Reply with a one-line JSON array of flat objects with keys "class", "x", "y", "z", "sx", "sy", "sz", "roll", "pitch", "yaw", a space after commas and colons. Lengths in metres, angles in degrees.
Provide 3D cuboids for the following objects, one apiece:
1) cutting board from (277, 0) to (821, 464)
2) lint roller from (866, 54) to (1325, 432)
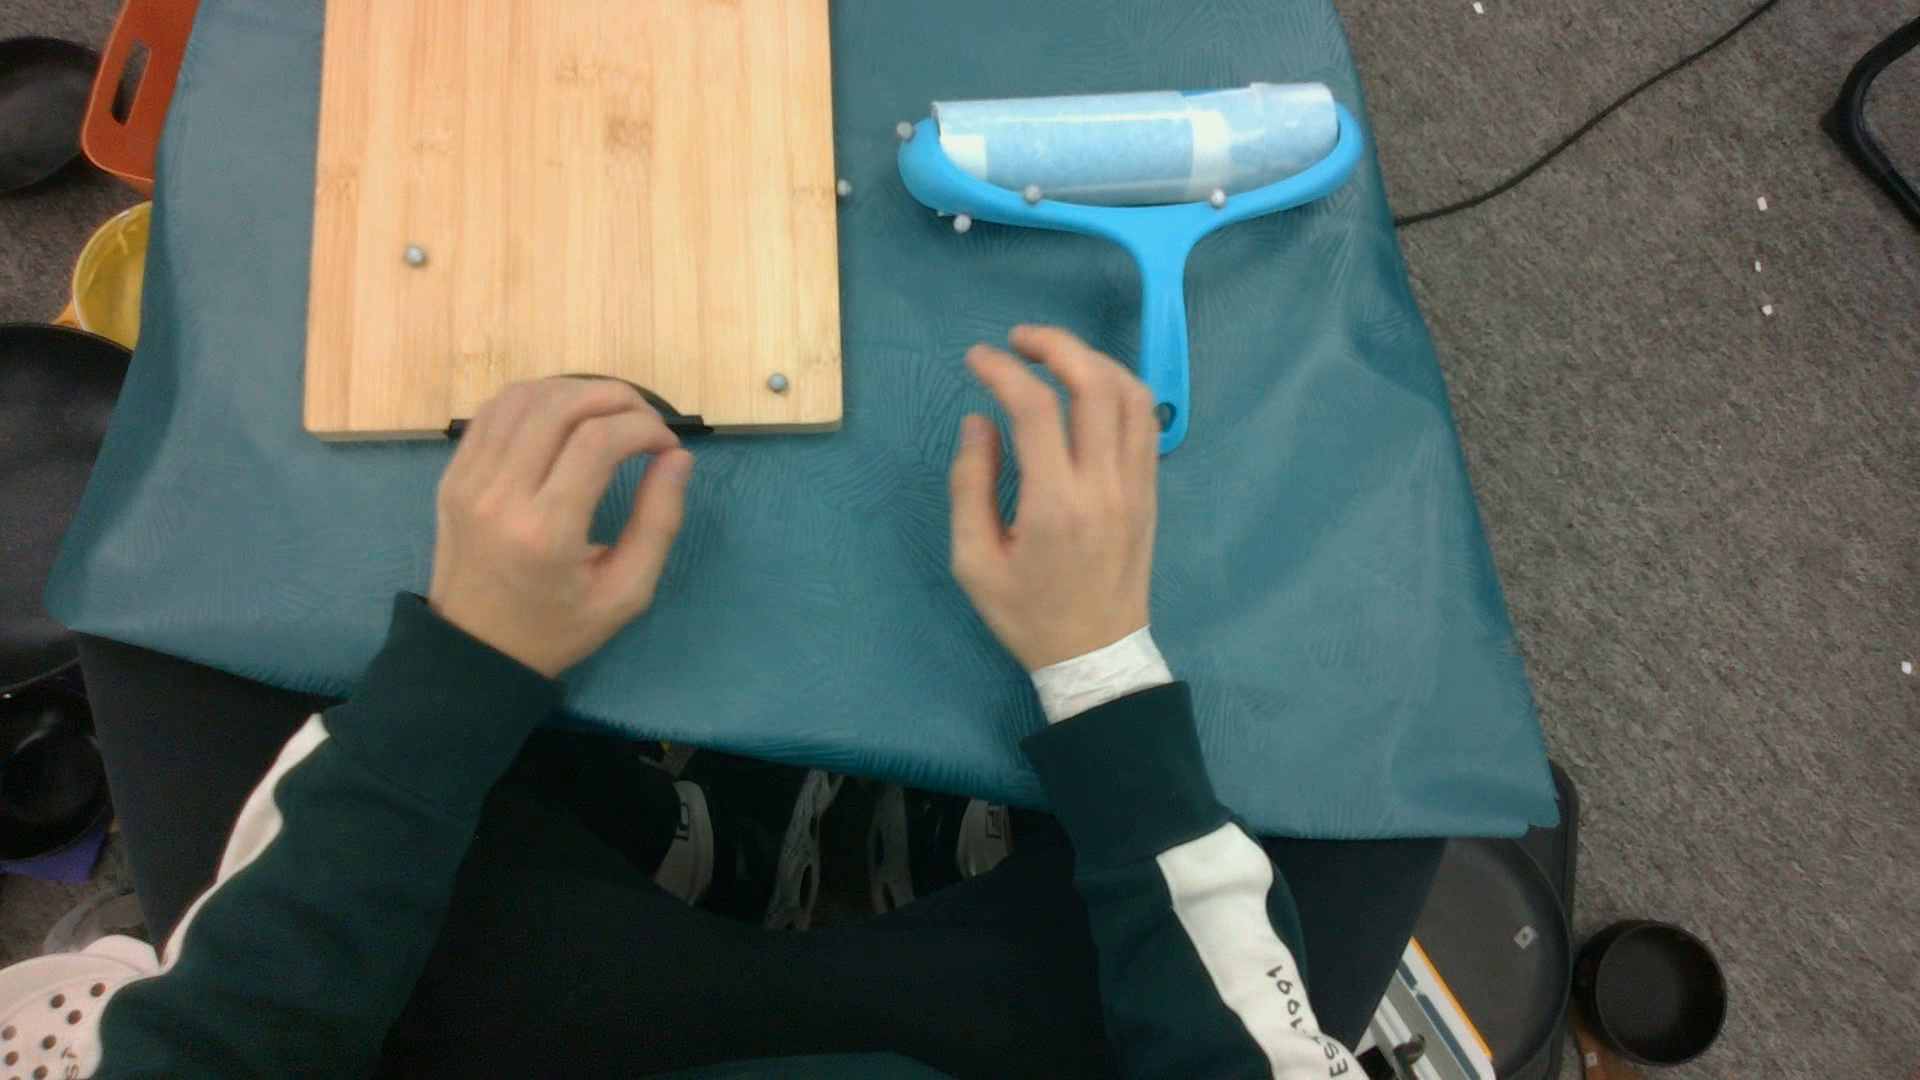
[{"class": "cutting board", "x": -0.199, "y": -0.211, "z": 0.671, "sx": 0.251, "sy": 0.023, "sz": 0.349, "roll": -4, "pitch": 78, "yaw": -7}, {"class": "lint roller", "x": 0.079, "y": -0.147, "z": 0.667, "sx": 0.229, "sy": 0.068, "sz": 0.180, "roll": -9, "pitch": 78, "yaw": -10}]
